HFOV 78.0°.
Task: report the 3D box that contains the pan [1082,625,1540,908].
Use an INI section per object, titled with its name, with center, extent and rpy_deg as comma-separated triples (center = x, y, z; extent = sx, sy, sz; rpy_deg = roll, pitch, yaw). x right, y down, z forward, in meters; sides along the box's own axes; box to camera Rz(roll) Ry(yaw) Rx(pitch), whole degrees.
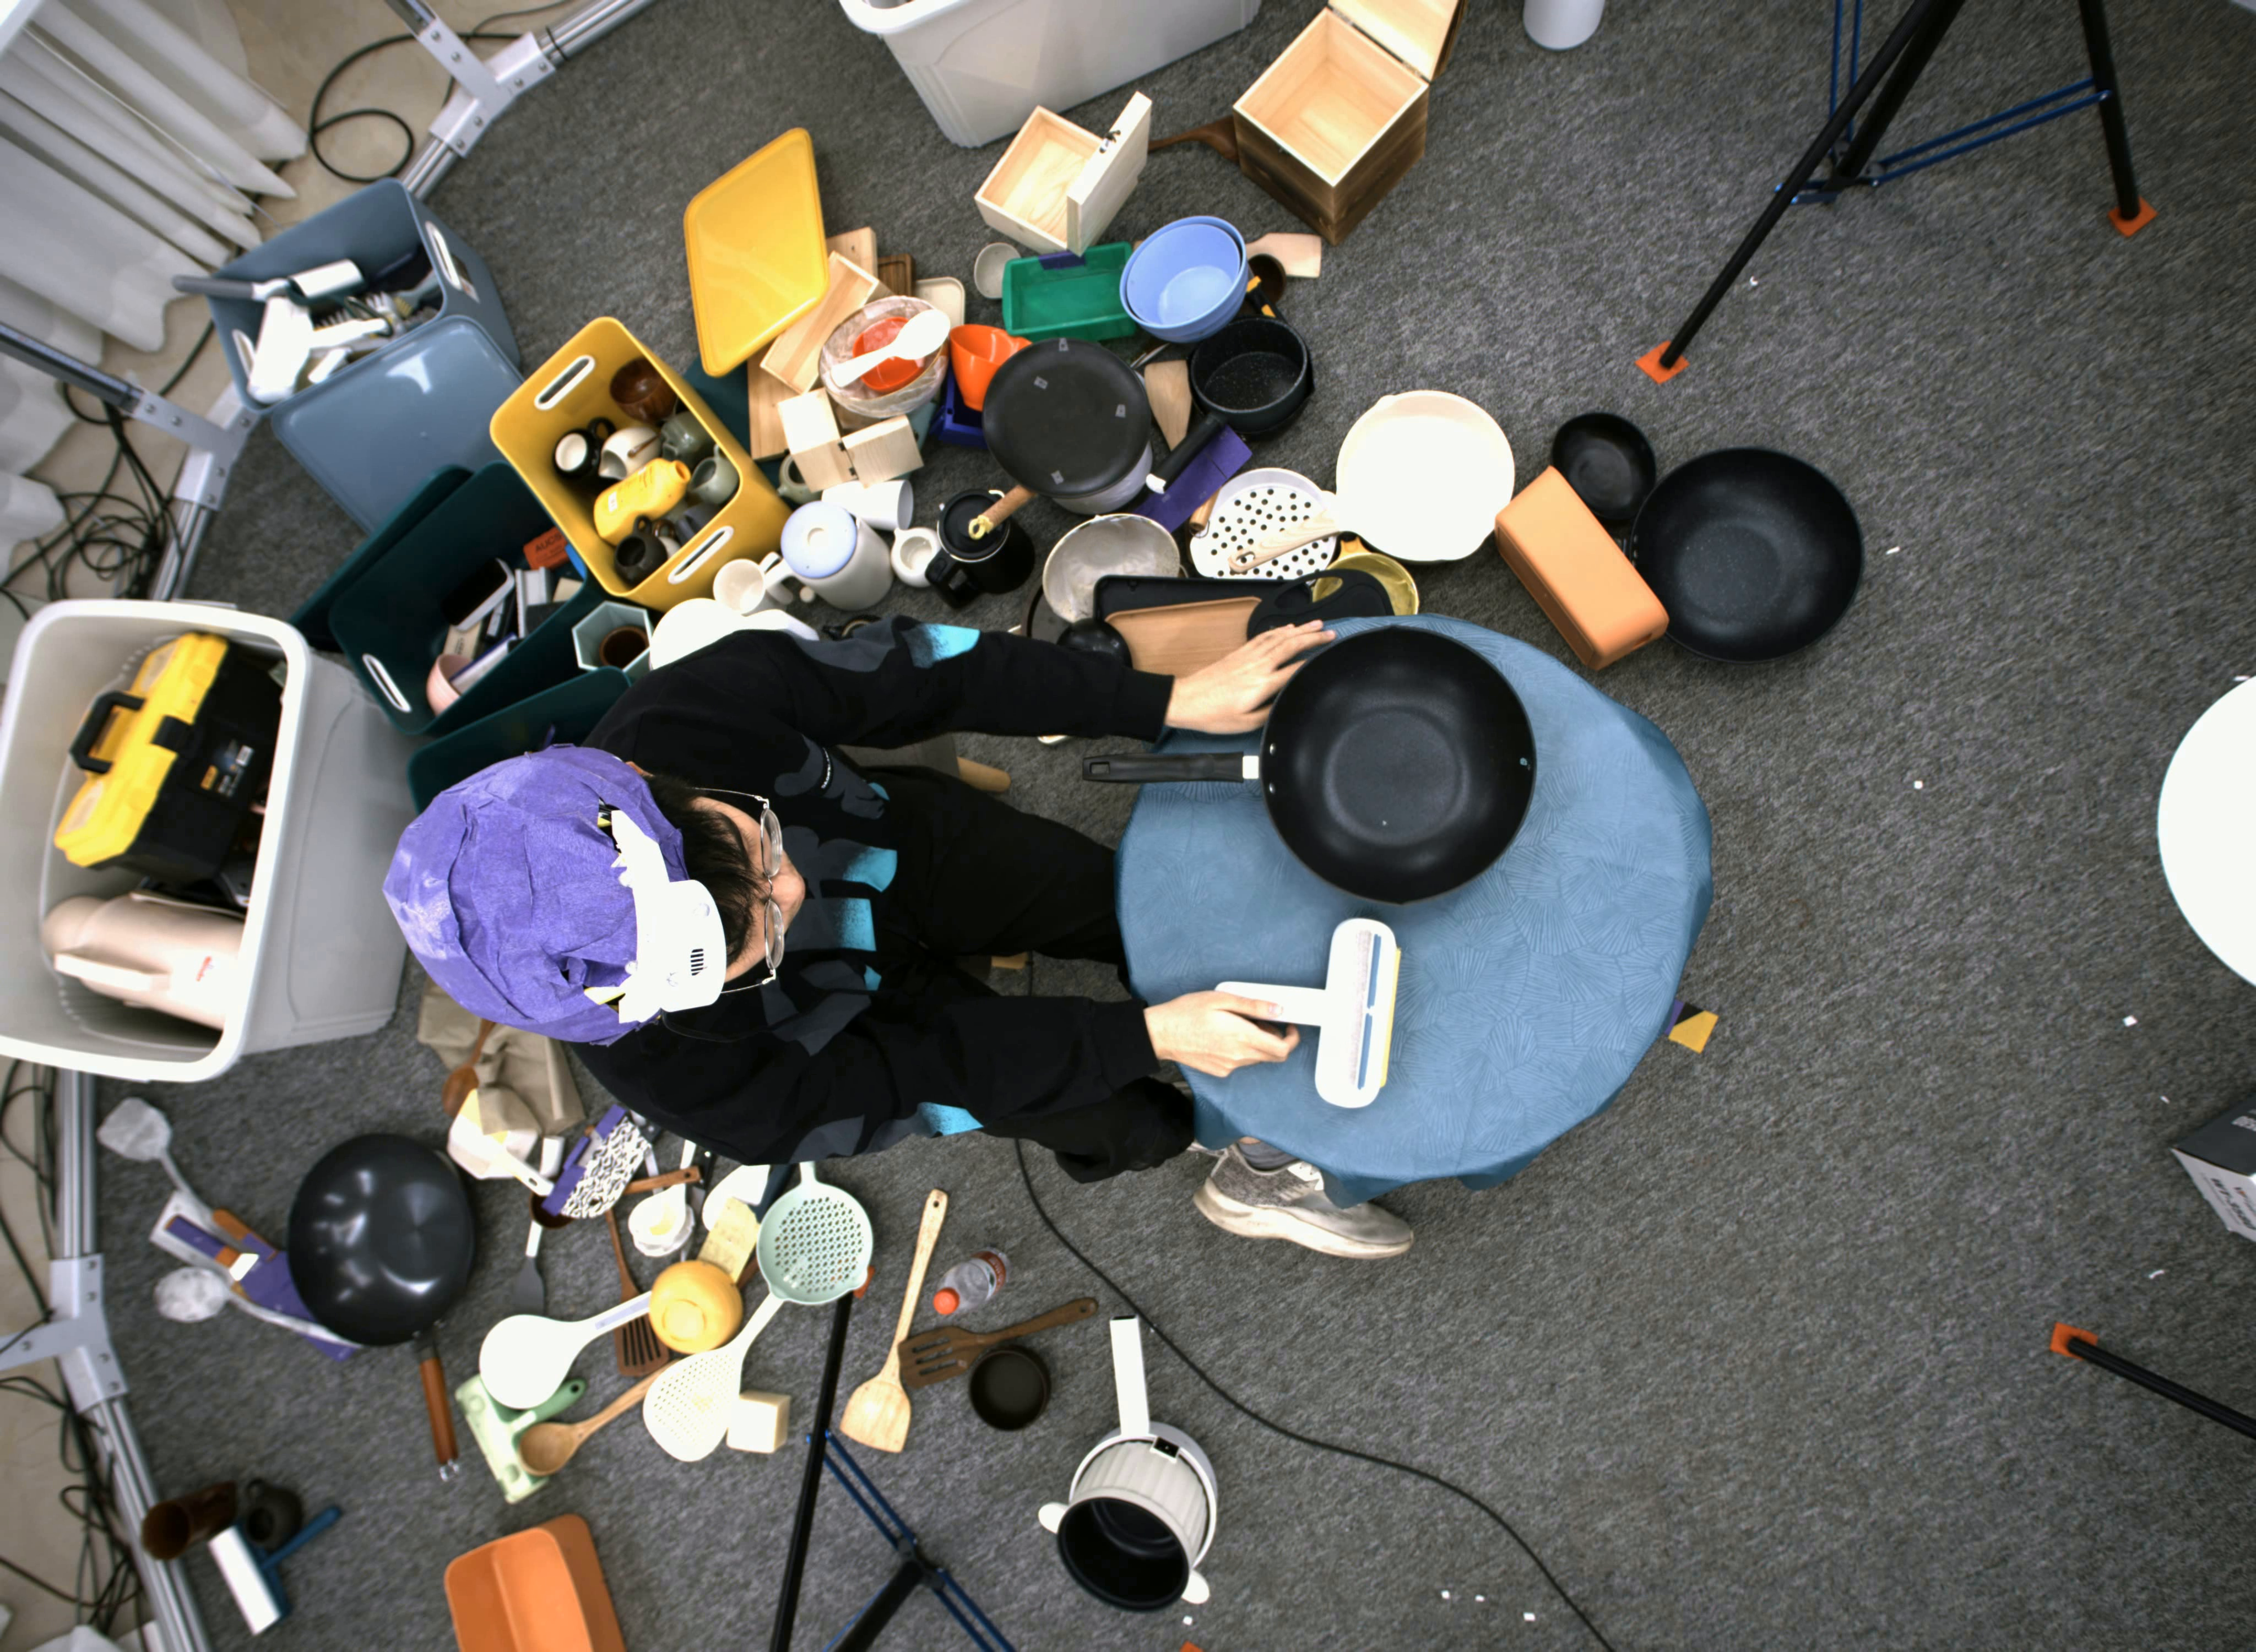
[pan]
center = 0.186, -0.058, 1.435
extent = 0.465, 0.087, 0.287
rpy_deg = 0, 87, 11

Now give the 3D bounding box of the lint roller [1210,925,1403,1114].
[lint roller]
center = 0.176, 0.188, 1.433
extent = 0.193, 0.074, 0.191
rpy_deg = 10, 83, 13
